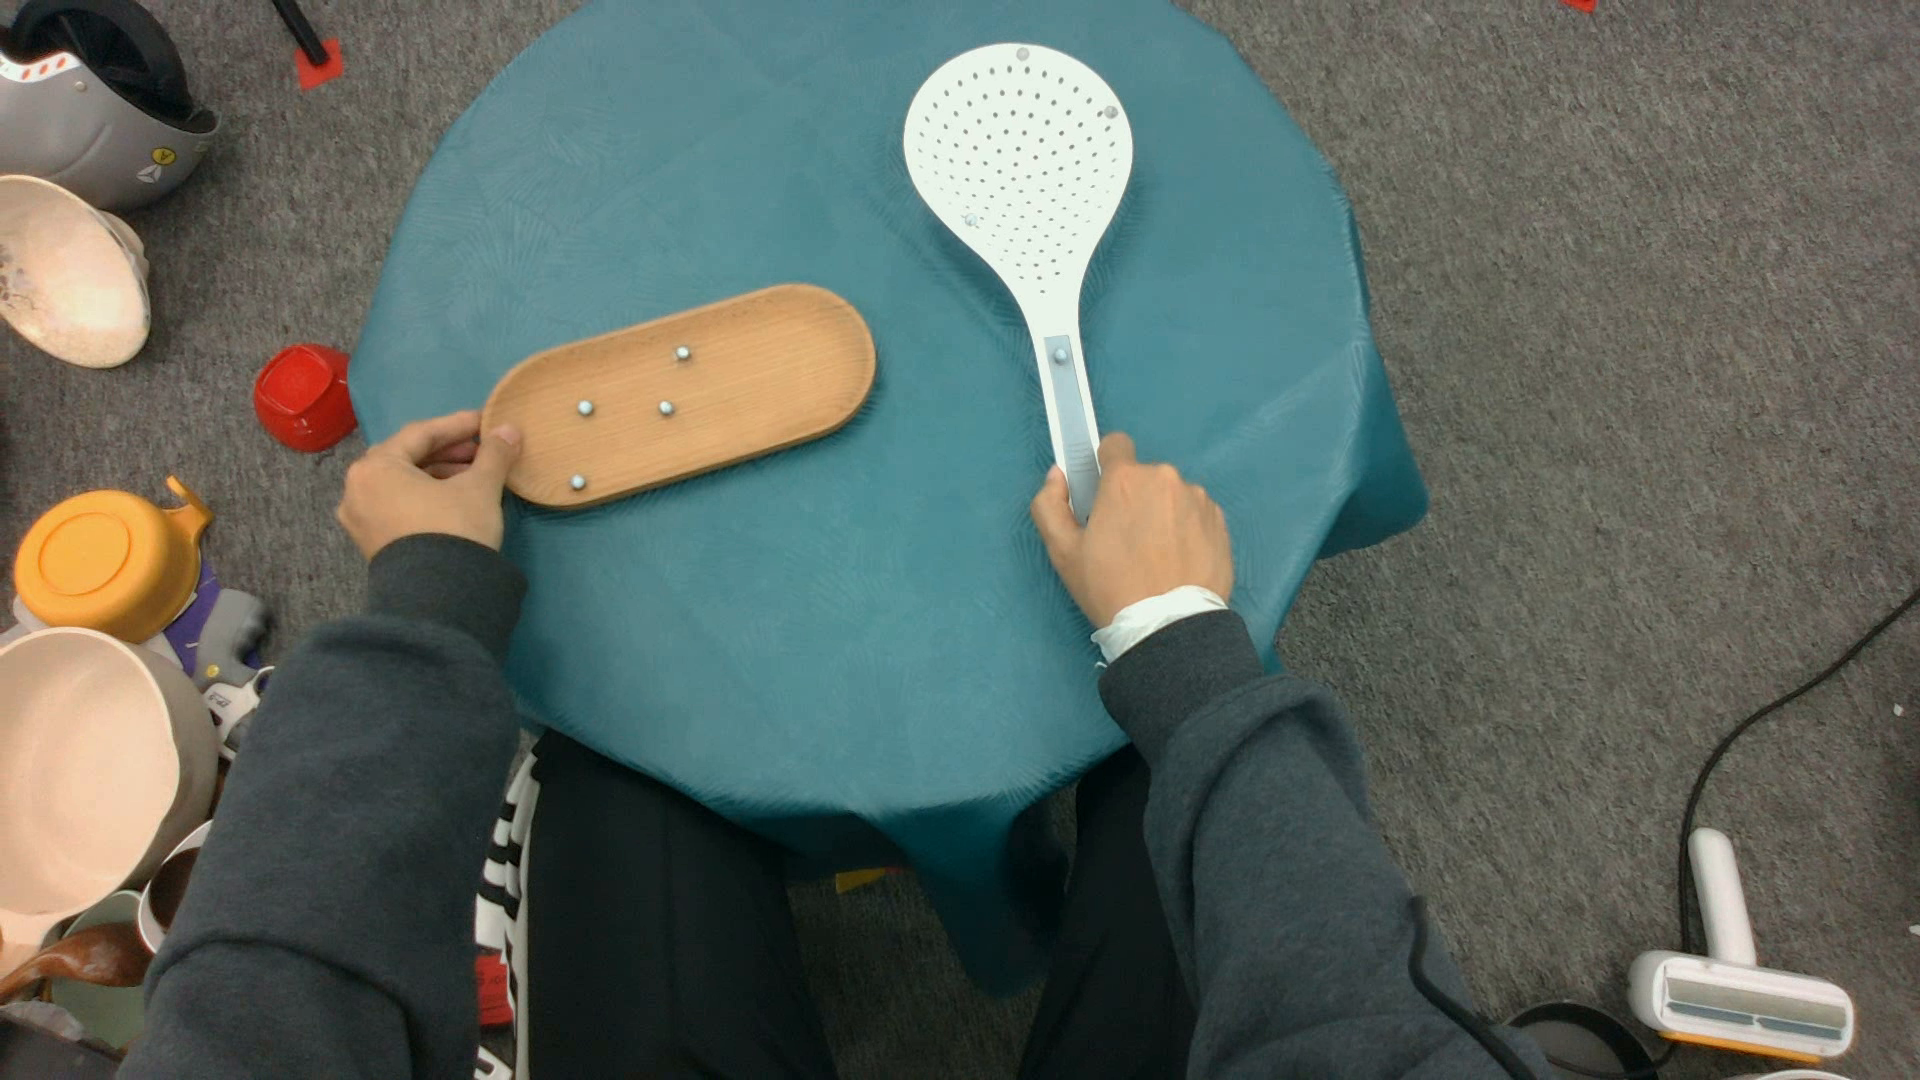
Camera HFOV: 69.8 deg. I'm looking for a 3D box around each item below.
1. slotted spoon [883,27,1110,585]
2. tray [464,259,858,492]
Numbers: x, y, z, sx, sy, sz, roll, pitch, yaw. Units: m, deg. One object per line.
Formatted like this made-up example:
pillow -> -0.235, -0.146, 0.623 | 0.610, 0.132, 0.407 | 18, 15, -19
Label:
slotted spoon -> 0.041, -0.143, 0.801 | 0.136, 0.045, 0.350 | -9, 70, -5
tray -> -0.172, -0.096, 0.800 | 0.231, 0.020, 0.102 | -19, 73, -8
